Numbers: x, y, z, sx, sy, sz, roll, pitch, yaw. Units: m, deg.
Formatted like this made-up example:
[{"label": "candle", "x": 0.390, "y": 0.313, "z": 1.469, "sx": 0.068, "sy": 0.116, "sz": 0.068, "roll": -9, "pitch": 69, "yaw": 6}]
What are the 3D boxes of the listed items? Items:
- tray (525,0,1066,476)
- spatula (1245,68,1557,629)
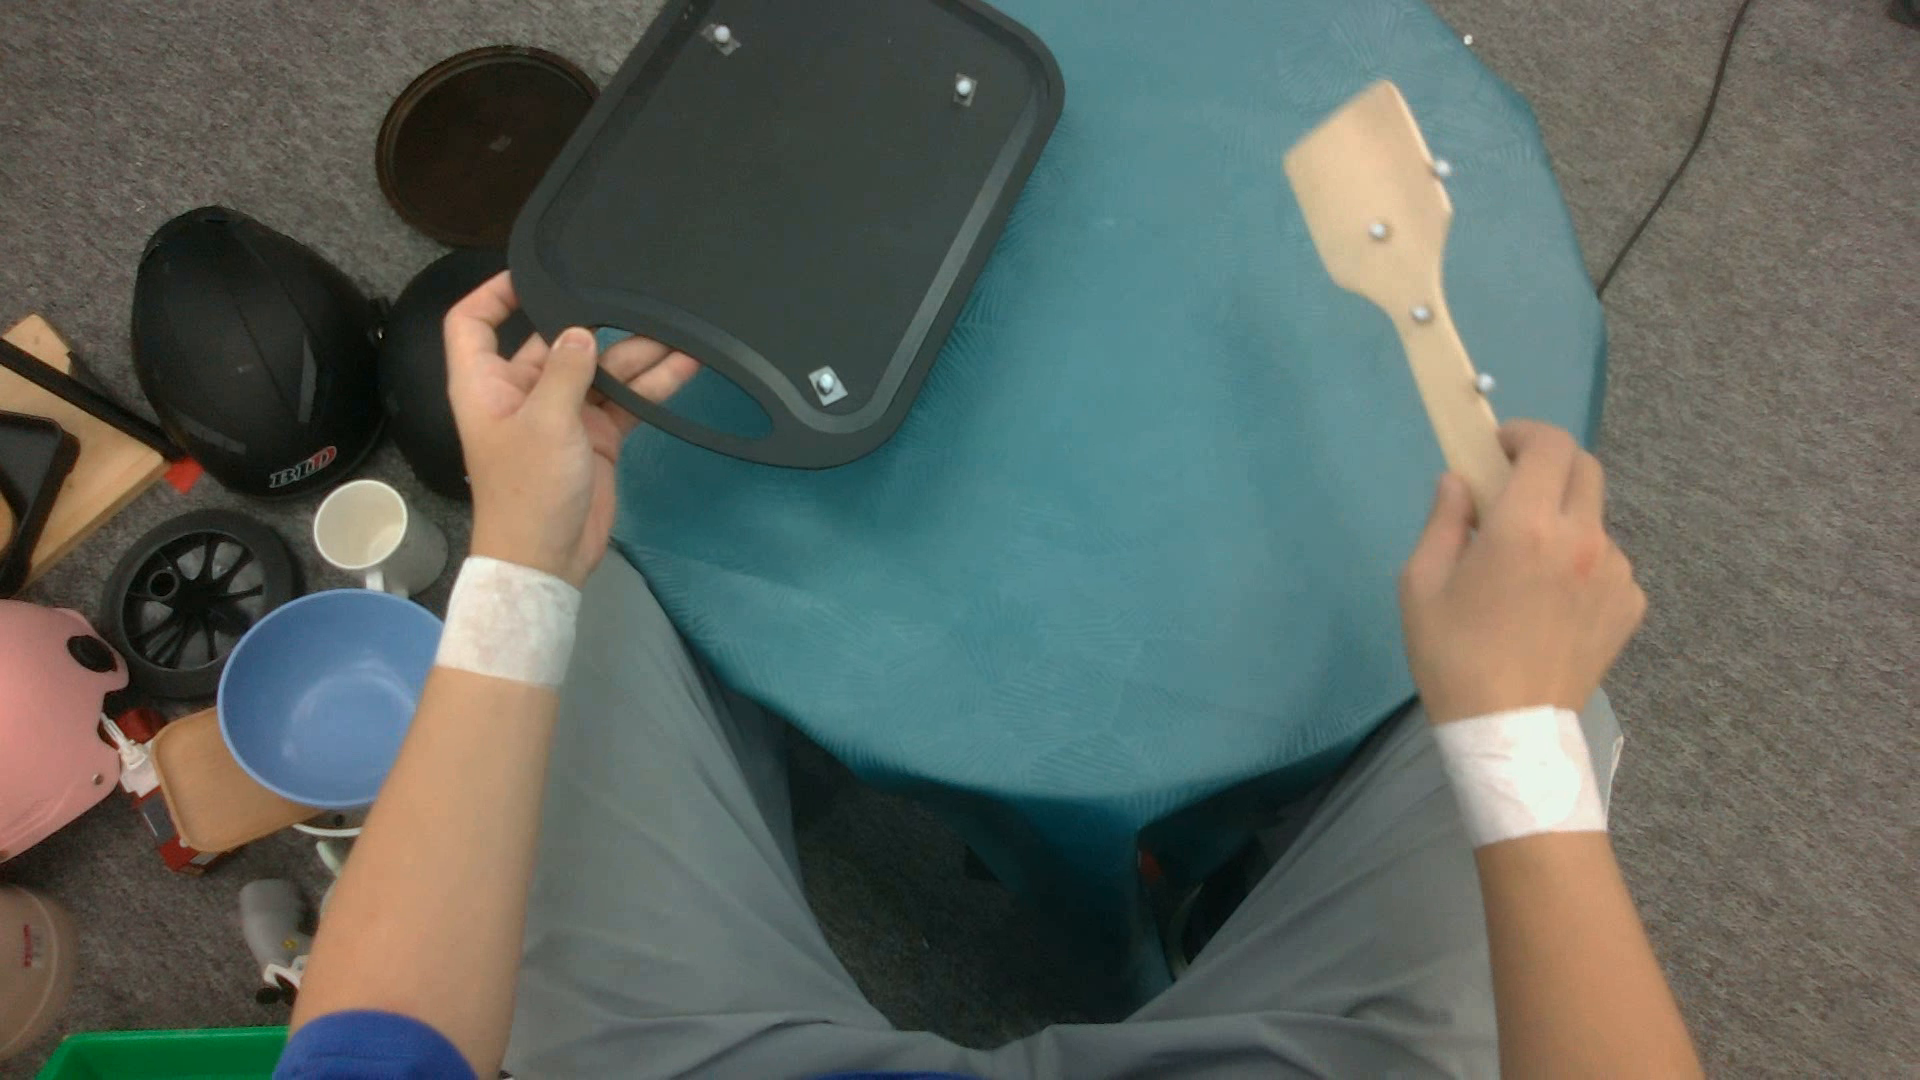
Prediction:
[{"label": "tray", "x": -0.079, "y": -0.188, "z": 0.734, "sx": 0.211, "sy": 0.010, "sz": 0.326, "roll": 29, "pitch": 67, "yaw": -6}, {"label": "spatula", "x": 0.216, "y": -0.094, "z": 0.665, "sx": 0.011, "sy": 0.072, "sz": 0.293, "roll": -1, "pitch": 64, "yaw": -41}]
